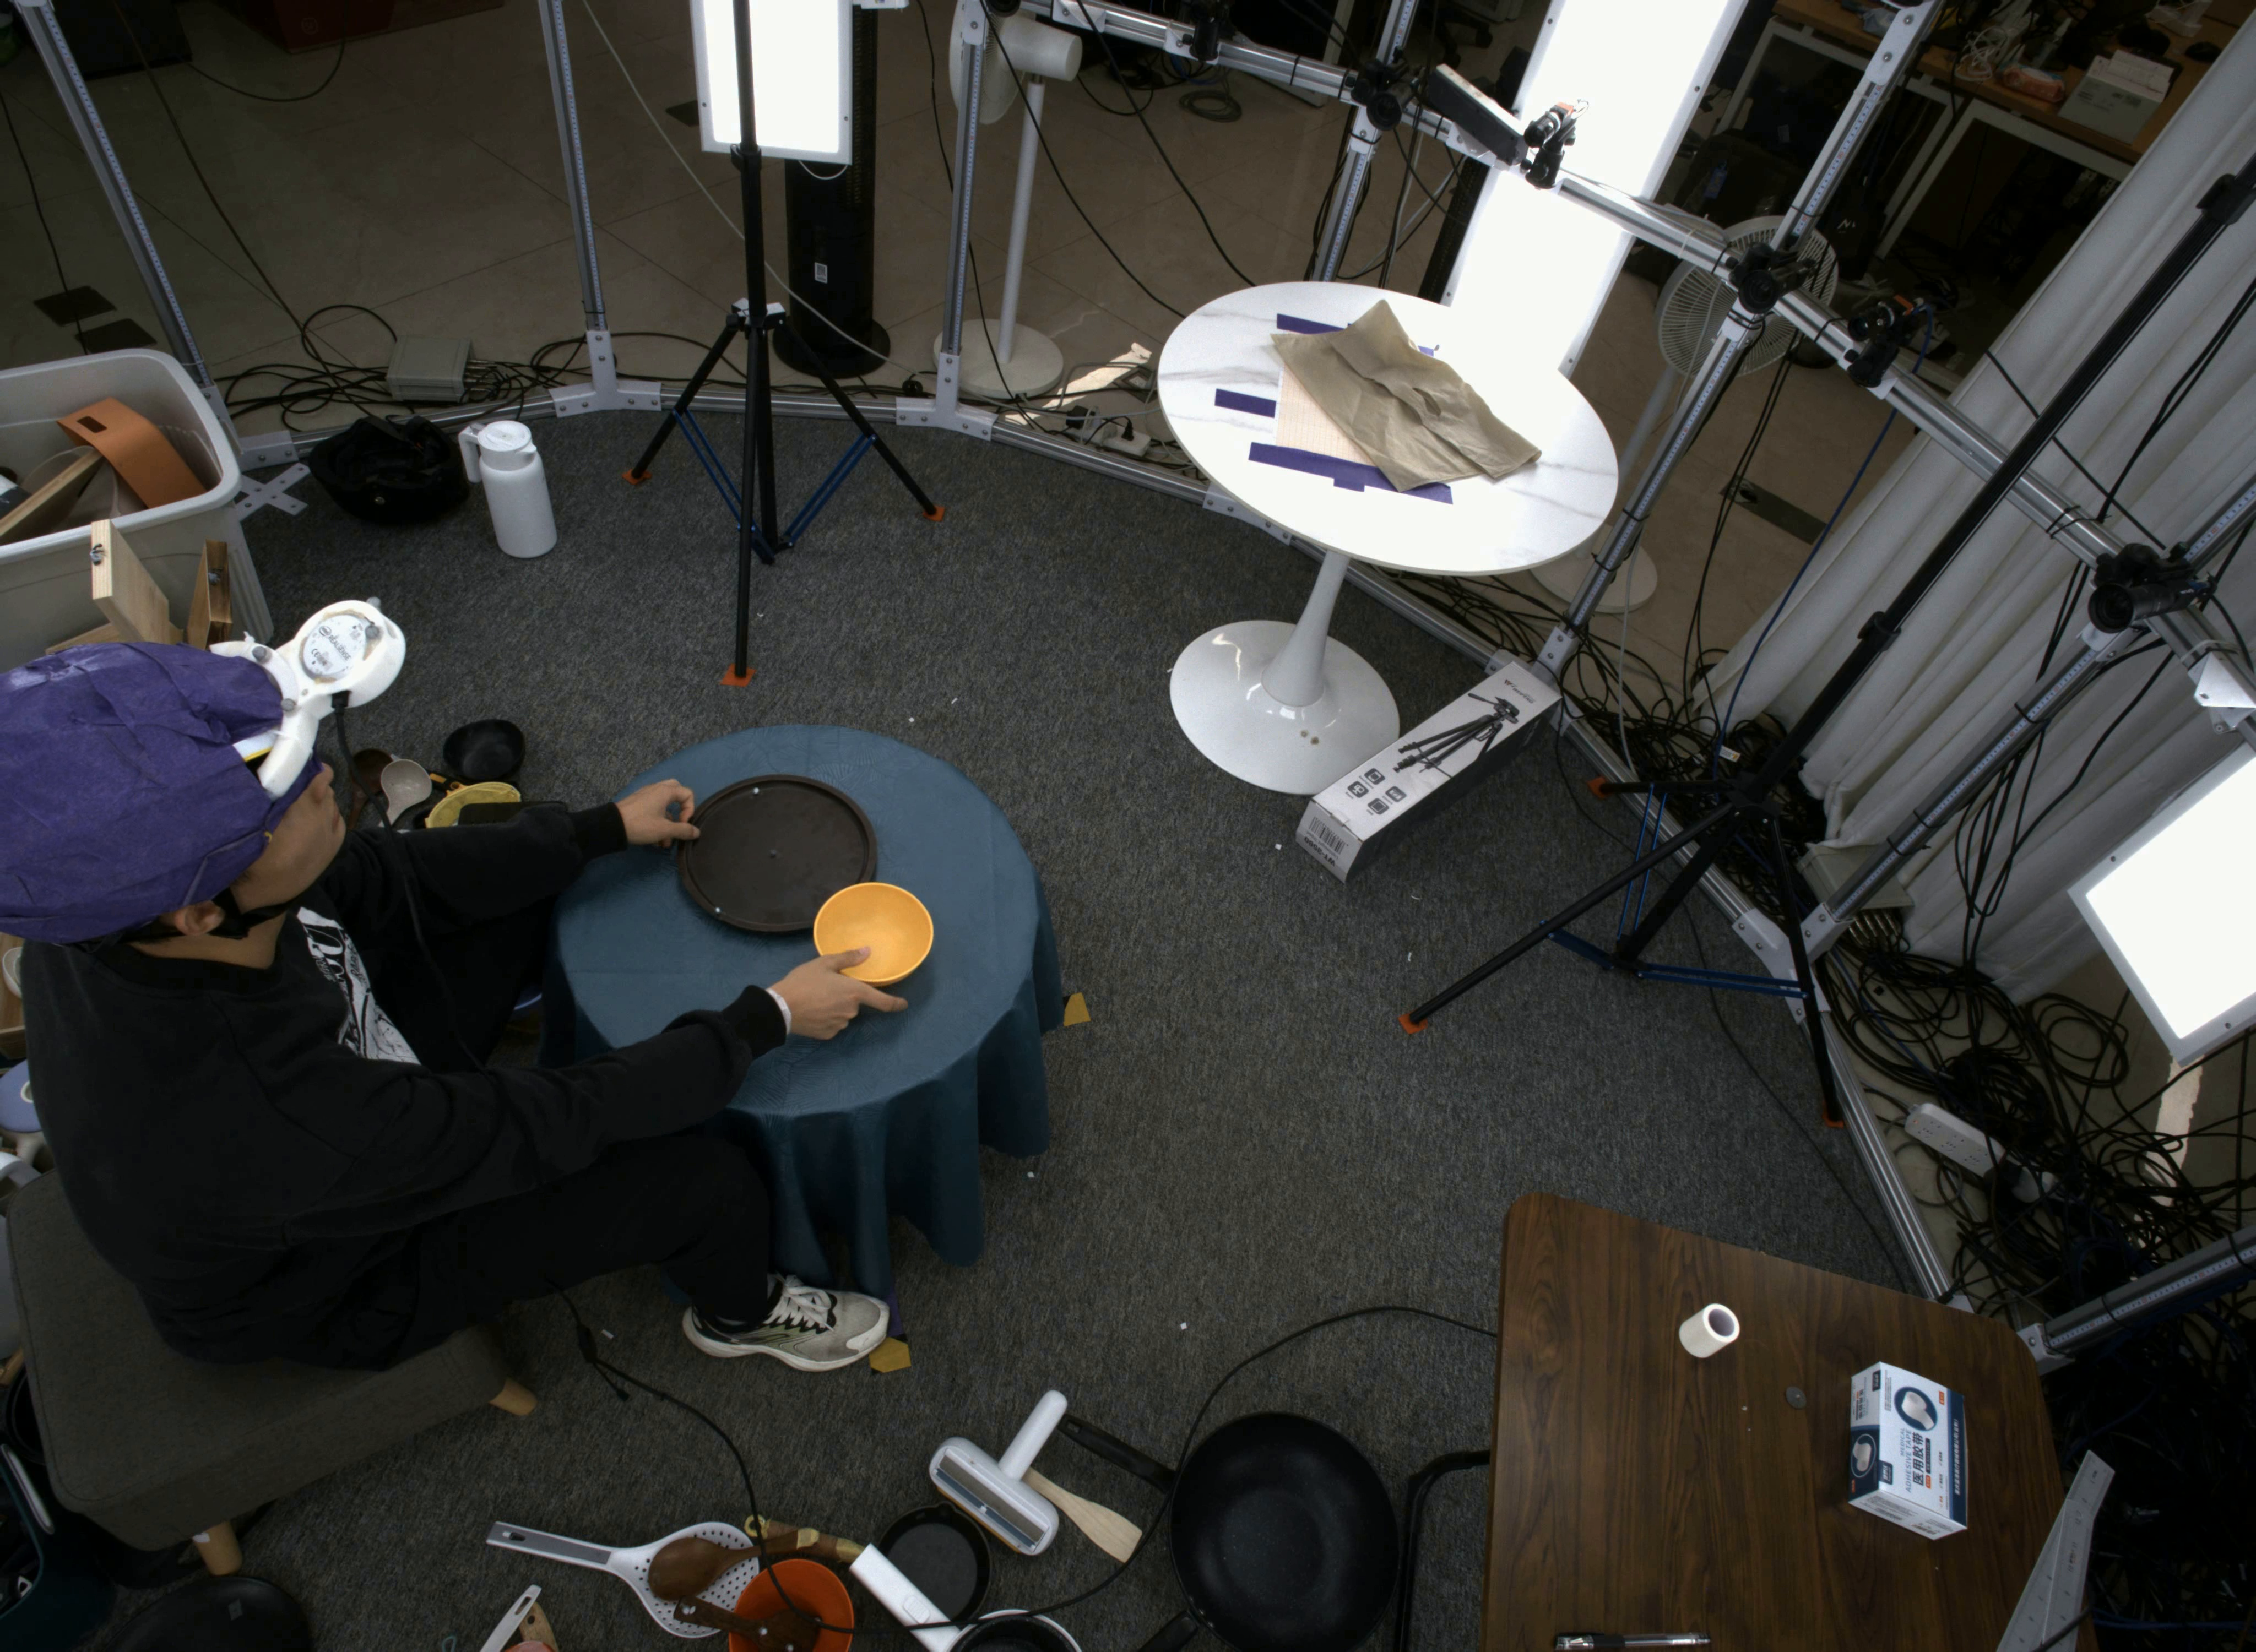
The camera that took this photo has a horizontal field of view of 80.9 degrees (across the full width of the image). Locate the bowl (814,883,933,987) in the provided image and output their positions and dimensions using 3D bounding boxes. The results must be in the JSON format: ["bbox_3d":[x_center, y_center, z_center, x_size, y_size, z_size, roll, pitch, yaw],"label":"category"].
[{"bbox_3d":[-0.314,0.144,1.614,0.144,0.061,0.143,6,53,-6],"label":"bowl"}]

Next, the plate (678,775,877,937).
[{"bbox_3d":[-0.453,0.035,1.681,0.254,0.029,0.250,8,54,-10],"label":"plate"}]
